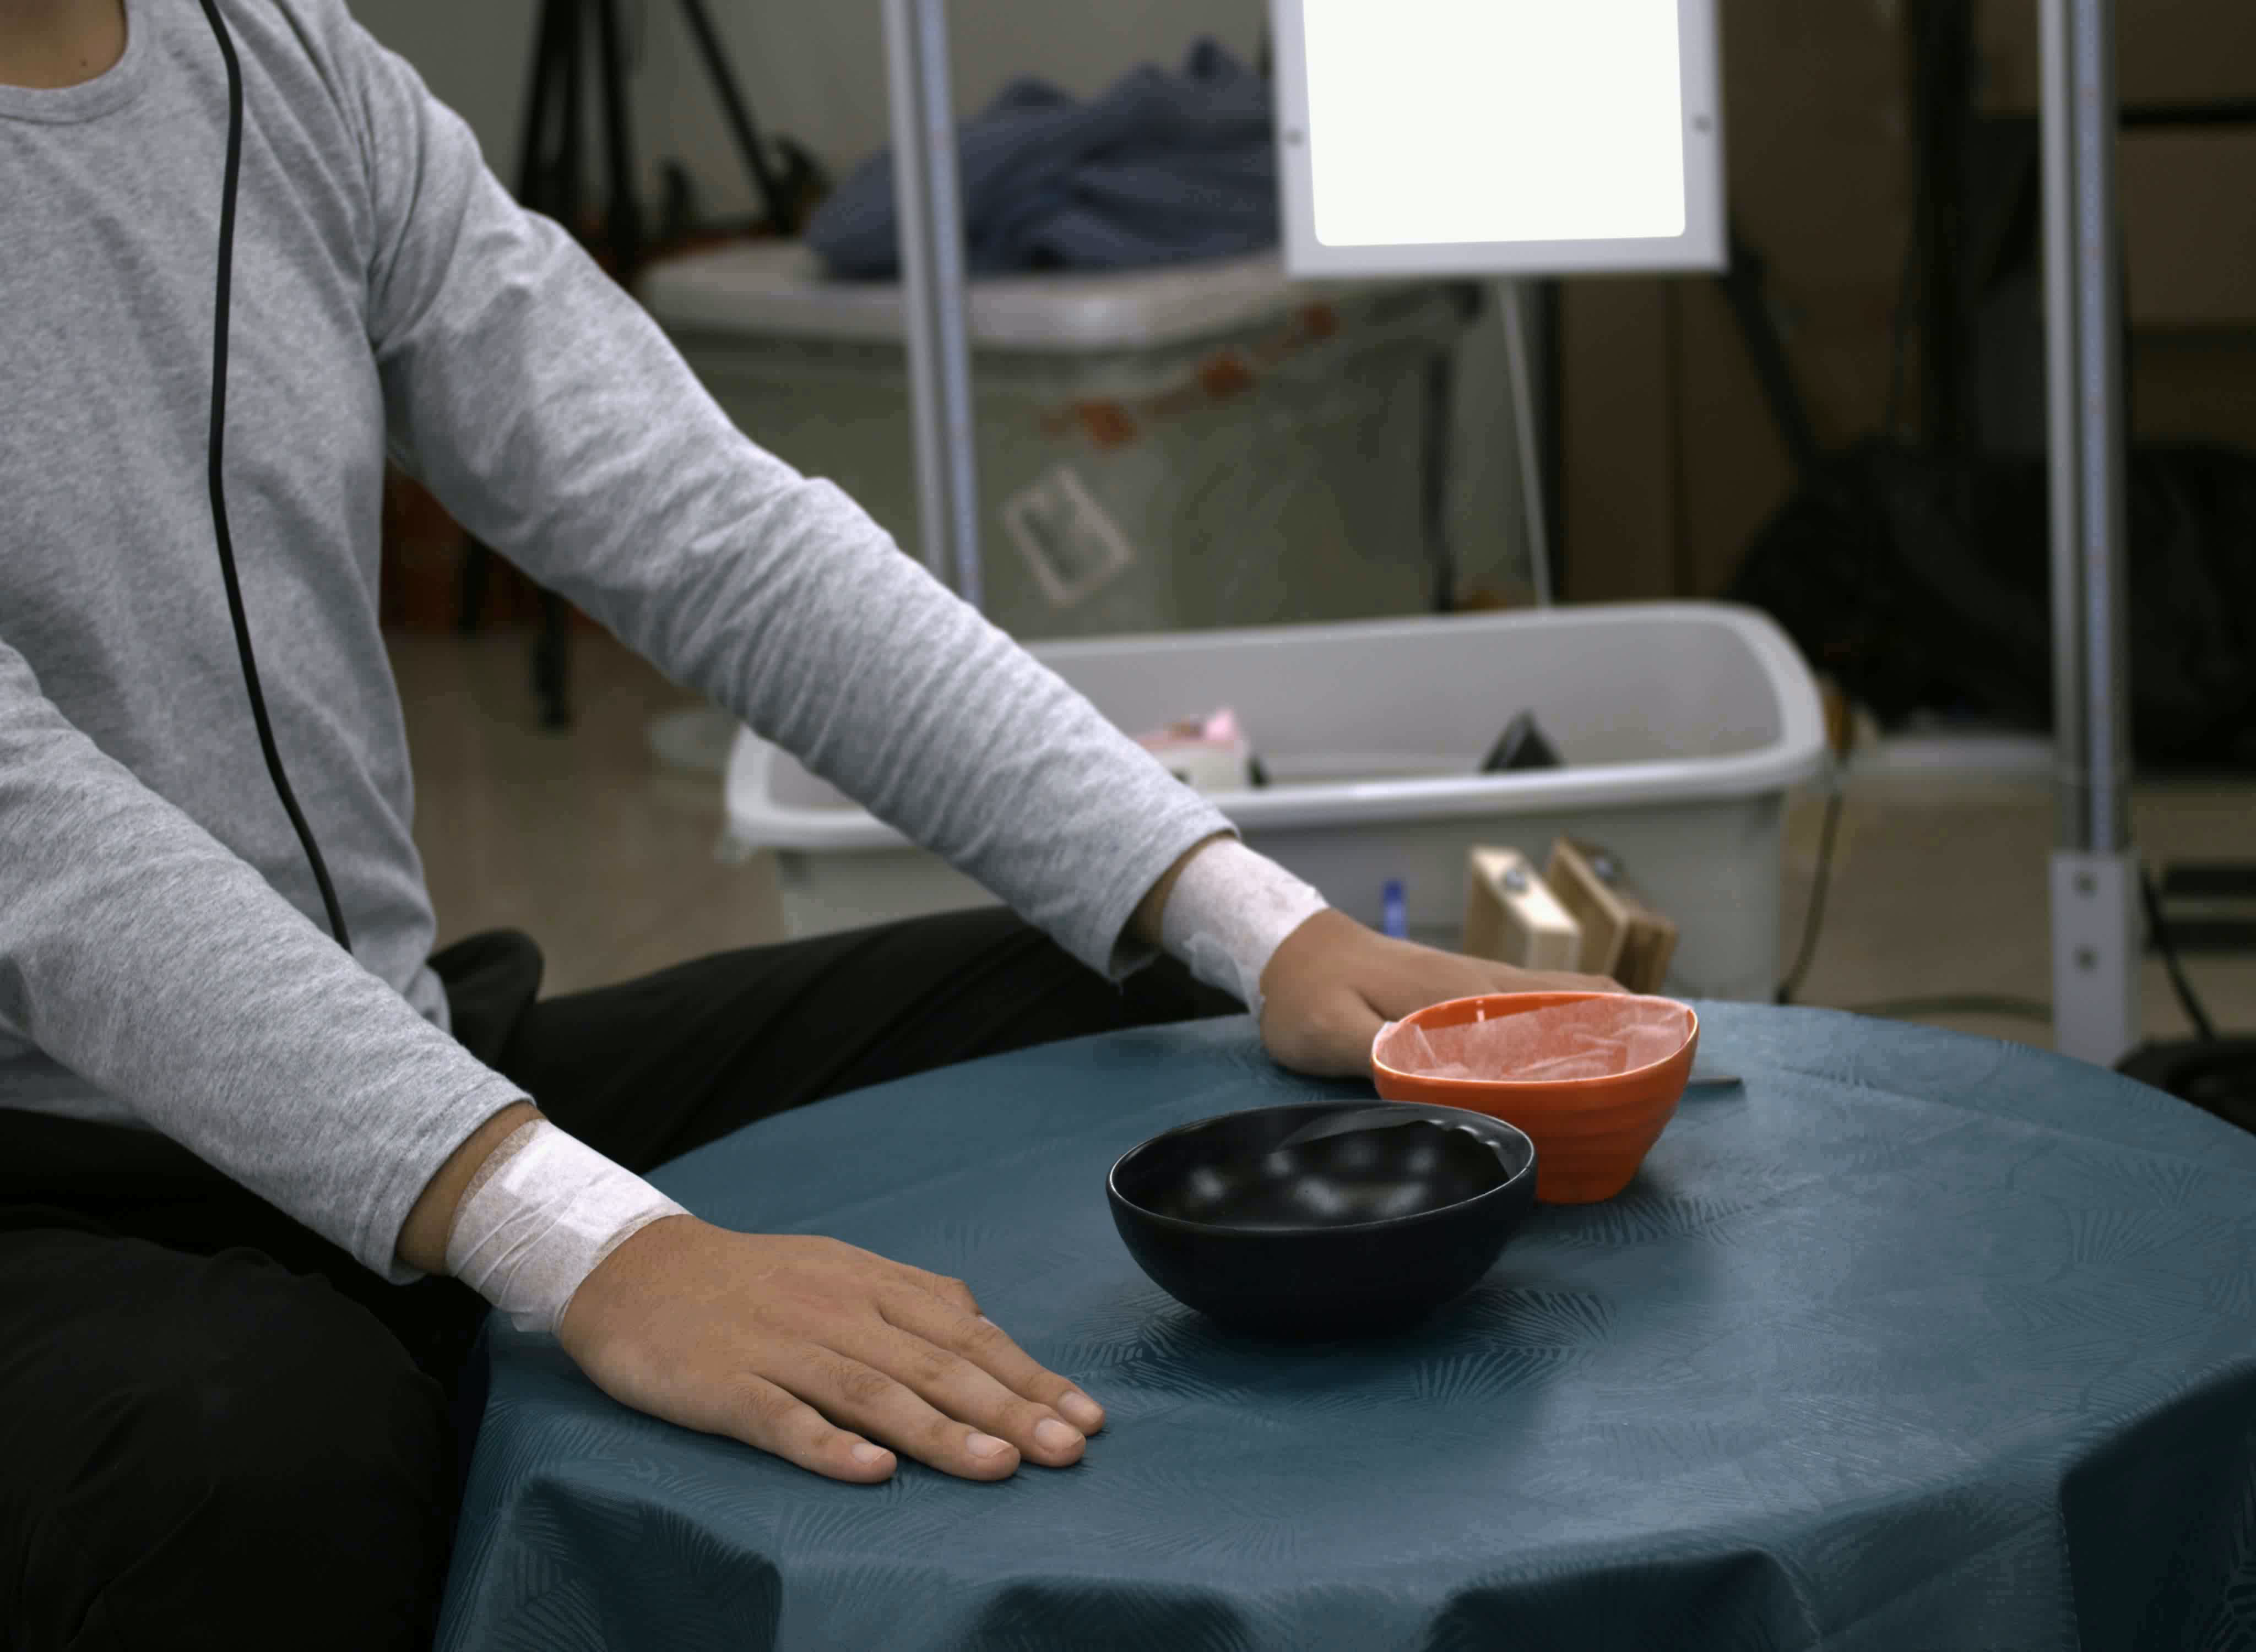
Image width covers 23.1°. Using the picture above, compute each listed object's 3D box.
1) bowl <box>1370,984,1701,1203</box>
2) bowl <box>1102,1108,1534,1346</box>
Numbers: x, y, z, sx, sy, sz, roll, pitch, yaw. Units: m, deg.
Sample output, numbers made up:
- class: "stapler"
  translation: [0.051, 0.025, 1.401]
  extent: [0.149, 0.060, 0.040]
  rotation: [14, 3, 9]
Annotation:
- class: "bowl"
  translation: [0.140, 0.093, 1.874]
  extent: [0.118, 0.051, 0.119]
  rotation: [-4, 15, 0]
- class: "bowl"
  translation: [0.063, 0.132, 1.760]
  extent: [0.140, 0.050, 0.140]
  rotation: [-7, 12, 0]
